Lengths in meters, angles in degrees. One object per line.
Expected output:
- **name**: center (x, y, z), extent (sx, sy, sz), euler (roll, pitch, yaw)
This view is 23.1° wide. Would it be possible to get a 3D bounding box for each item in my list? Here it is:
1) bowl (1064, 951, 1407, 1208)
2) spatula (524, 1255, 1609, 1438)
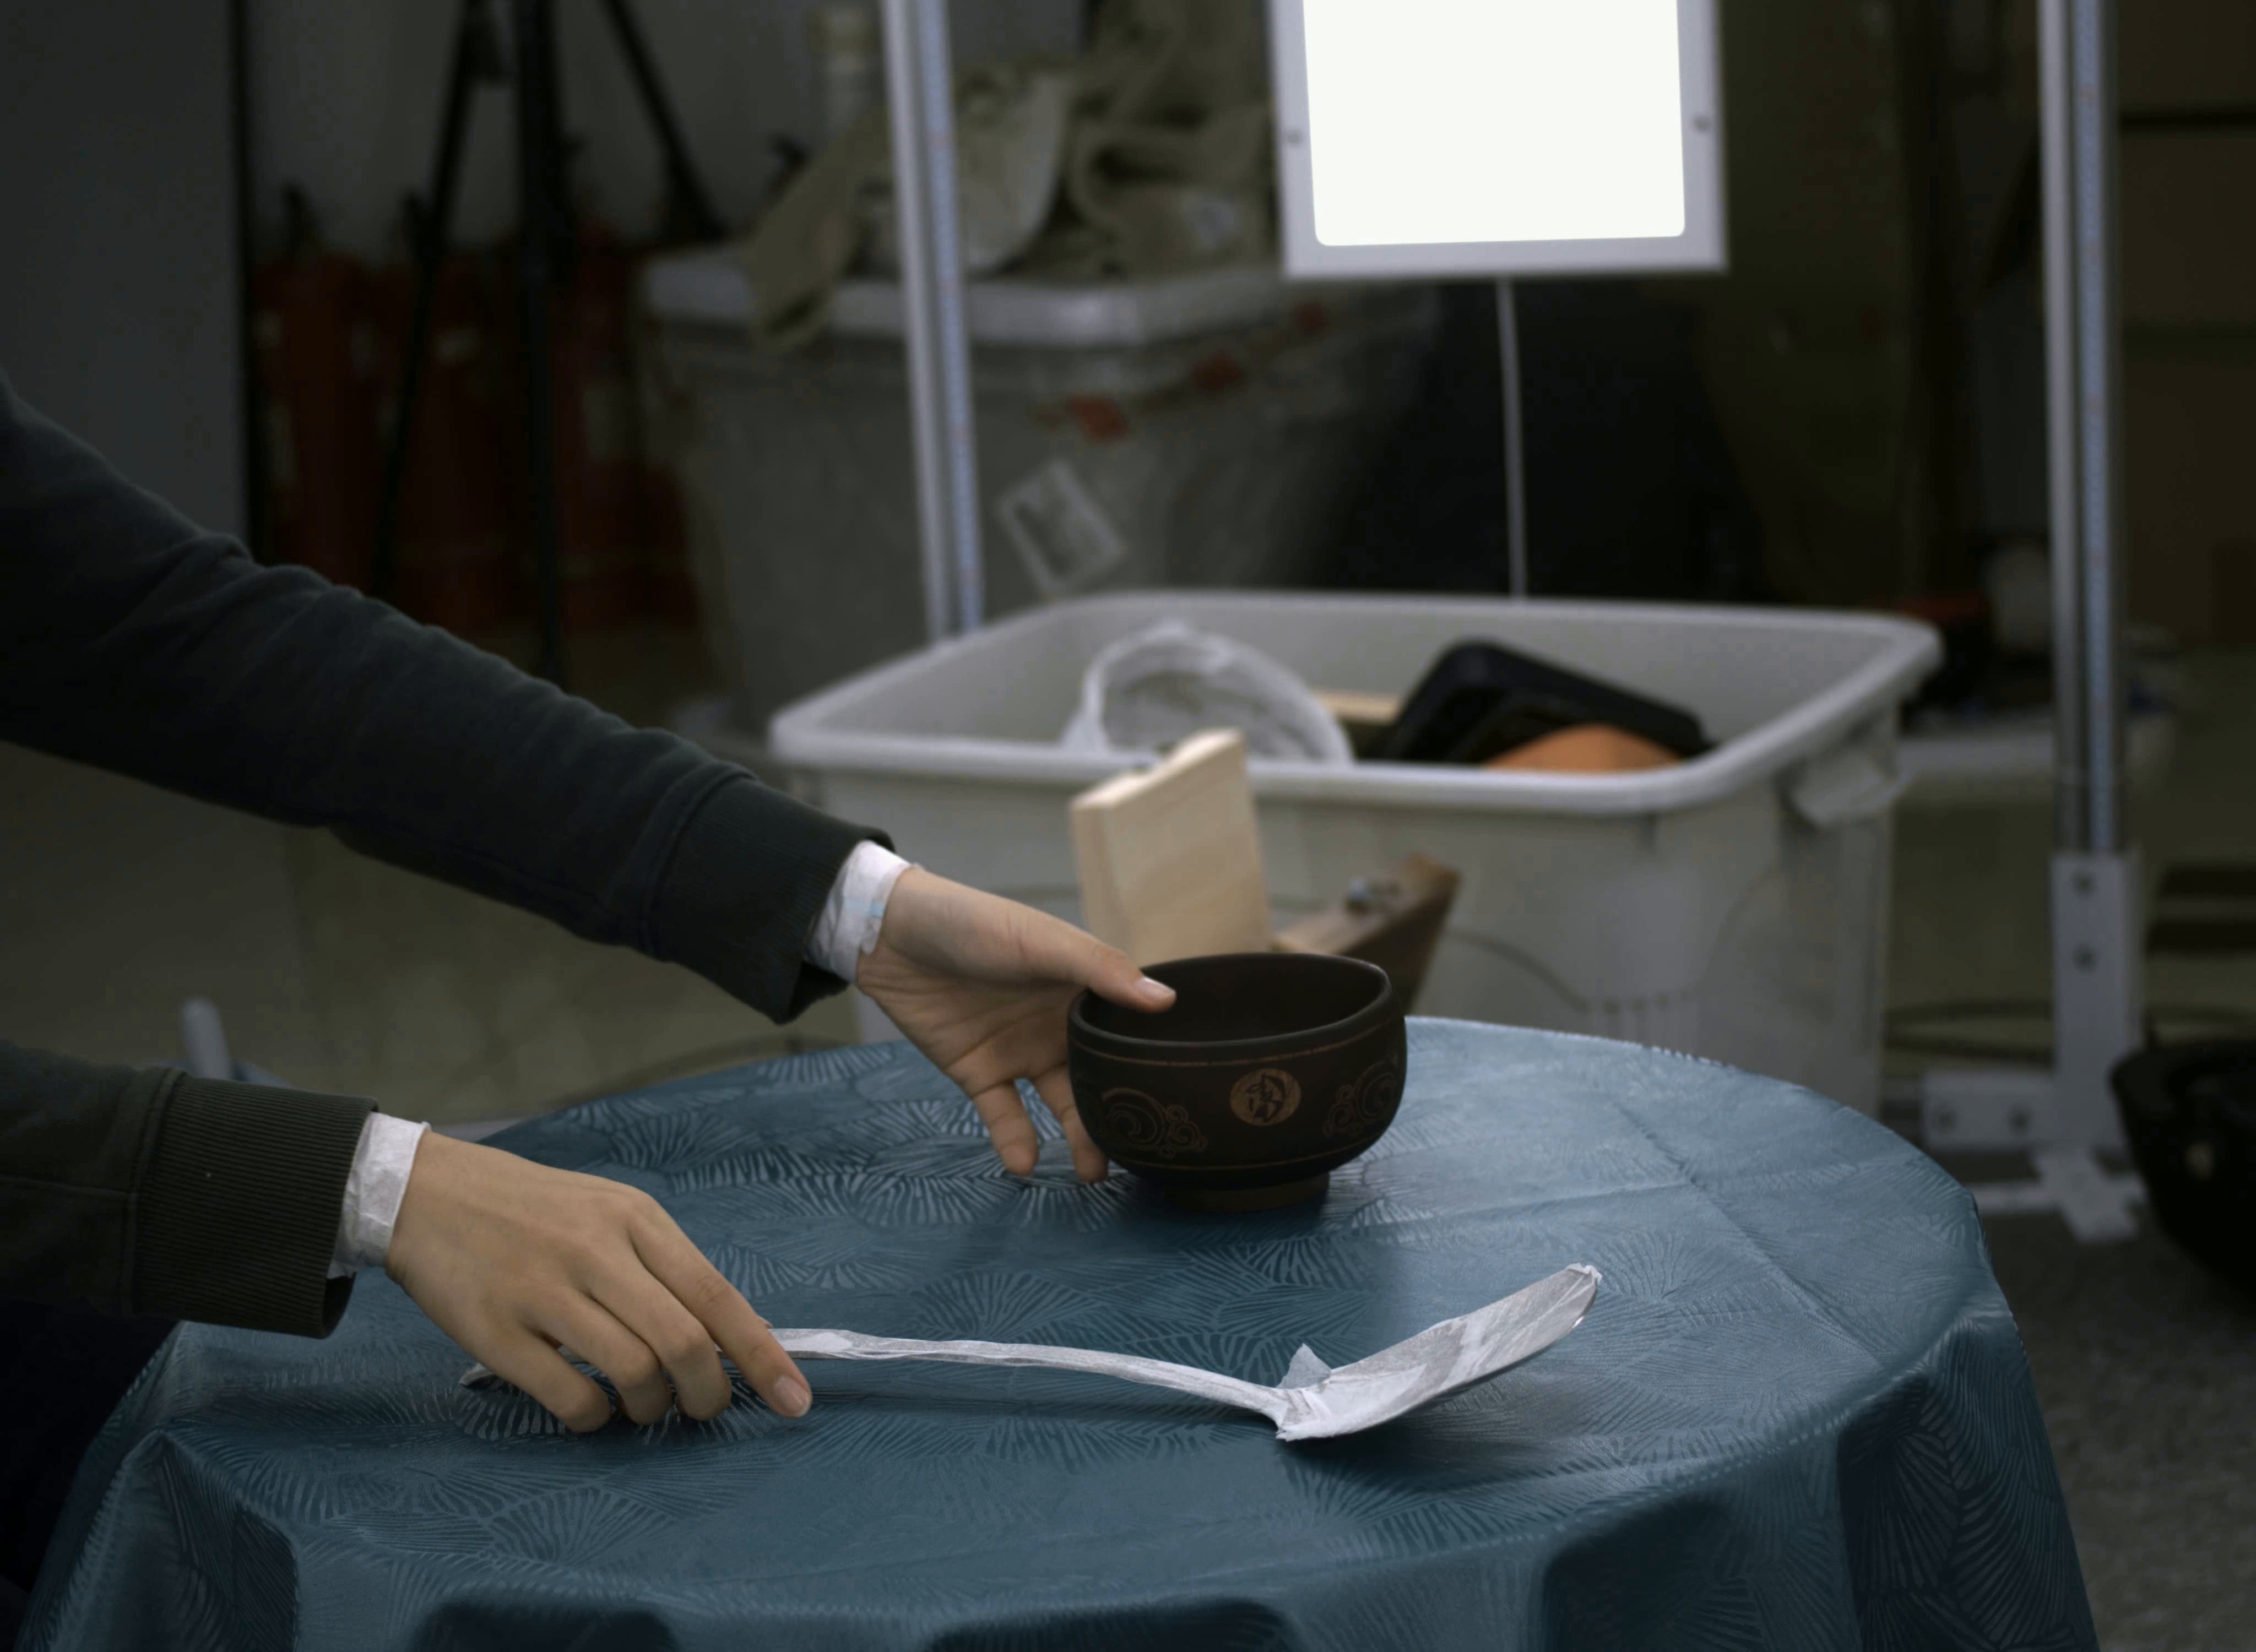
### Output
- **bowl**: center (0.038, 0.090, 1.883), extent (0.118, 0.070, 0.118), euler (-5, 12, 0)
- **spatula**: center (-0.030, 0.158, 1.698), extent (0.370, 0.045, 0.097), euler (1, 17, 23)
